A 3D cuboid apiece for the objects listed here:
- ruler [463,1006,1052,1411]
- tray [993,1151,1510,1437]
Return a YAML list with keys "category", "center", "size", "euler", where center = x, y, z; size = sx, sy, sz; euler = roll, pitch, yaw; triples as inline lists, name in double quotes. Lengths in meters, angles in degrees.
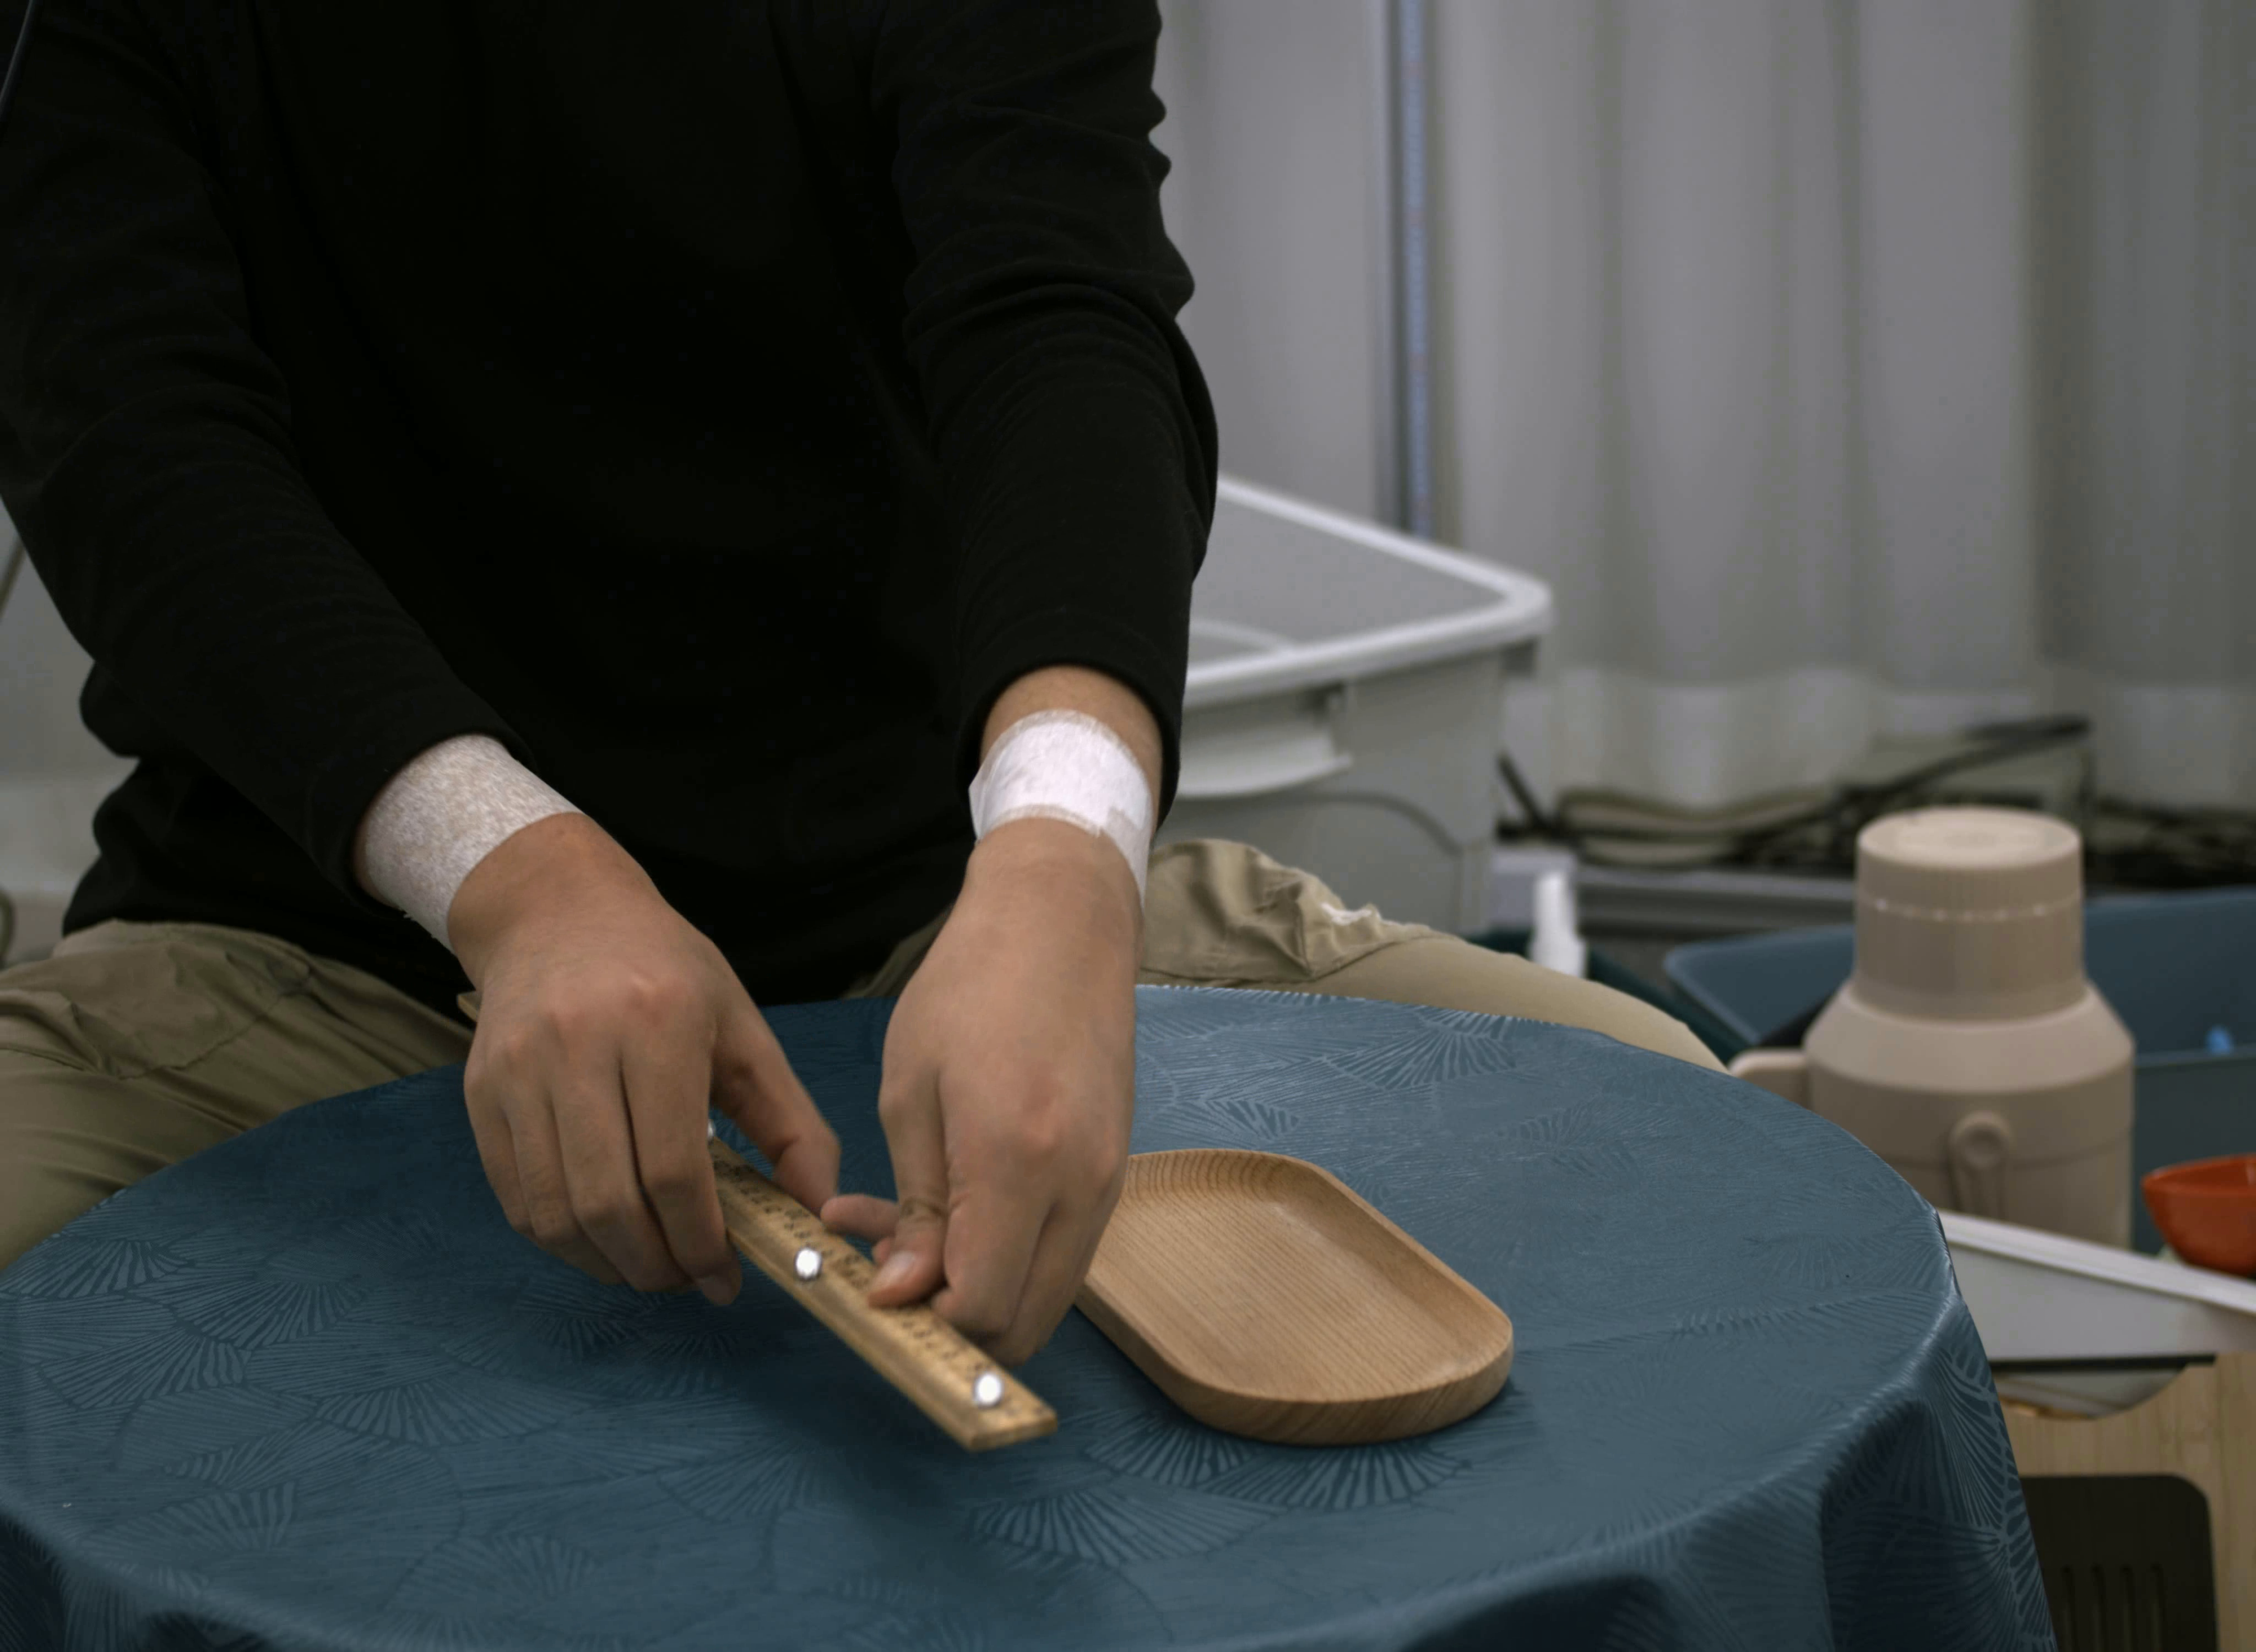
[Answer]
- category: "ruler"
  center: [-0.121, 0.105, 1.623]
  size: [0.026, 0.006, 0.504]
  euler: [-5, 11, -21]
- category: "tray"
  center: [0.034, 0.135, 1.600]
  size: [0.101, 0.020, 0.233]
  euler: [-6, 13, -20]
